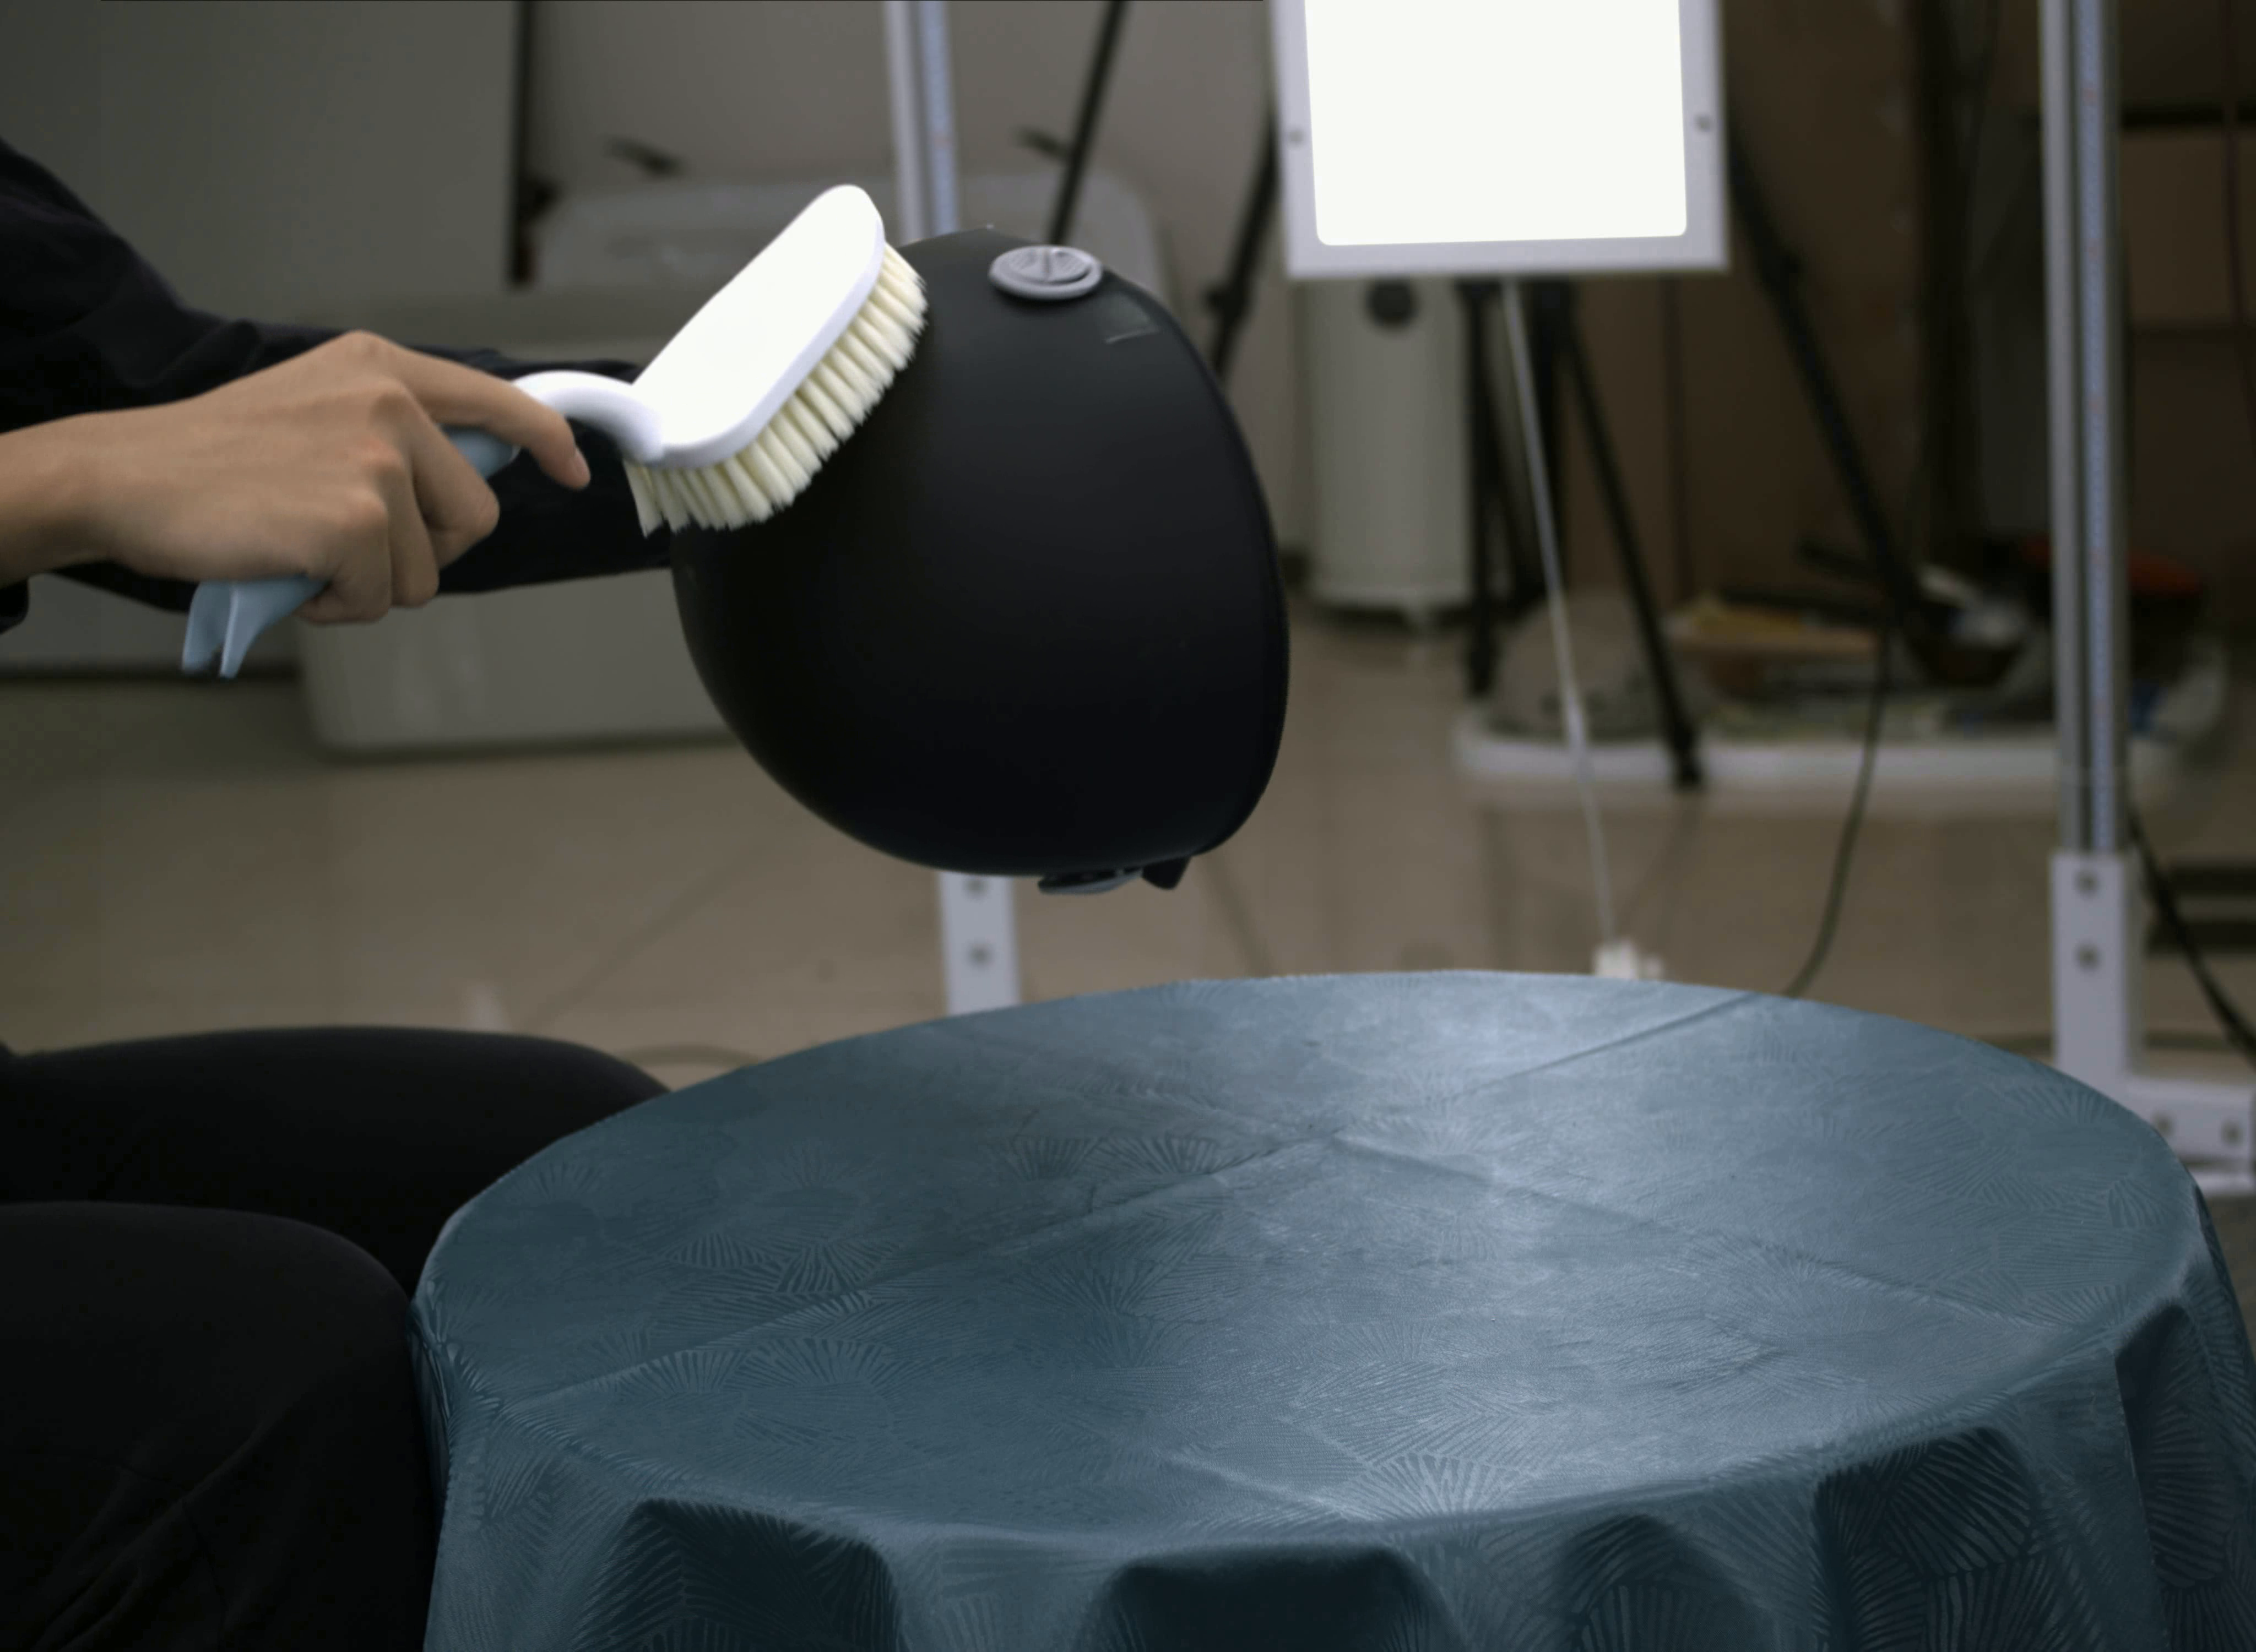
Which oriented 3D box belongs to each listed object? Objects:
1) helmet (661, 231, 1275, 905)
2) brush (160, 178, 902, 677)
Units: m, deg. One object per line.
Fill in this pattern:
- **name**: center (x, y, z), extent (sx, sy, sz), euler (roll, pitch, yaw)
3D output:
- **helmet**: center (-0.070, -0.085, 1.914), extent (0.164, 0.231, 0.277), euler (-13, 22, -20)
- **brush**: center (-0.183, -0.105, 1.773), extent (0.318, 0.085, 0.084), euler (-40, -9, -37)
